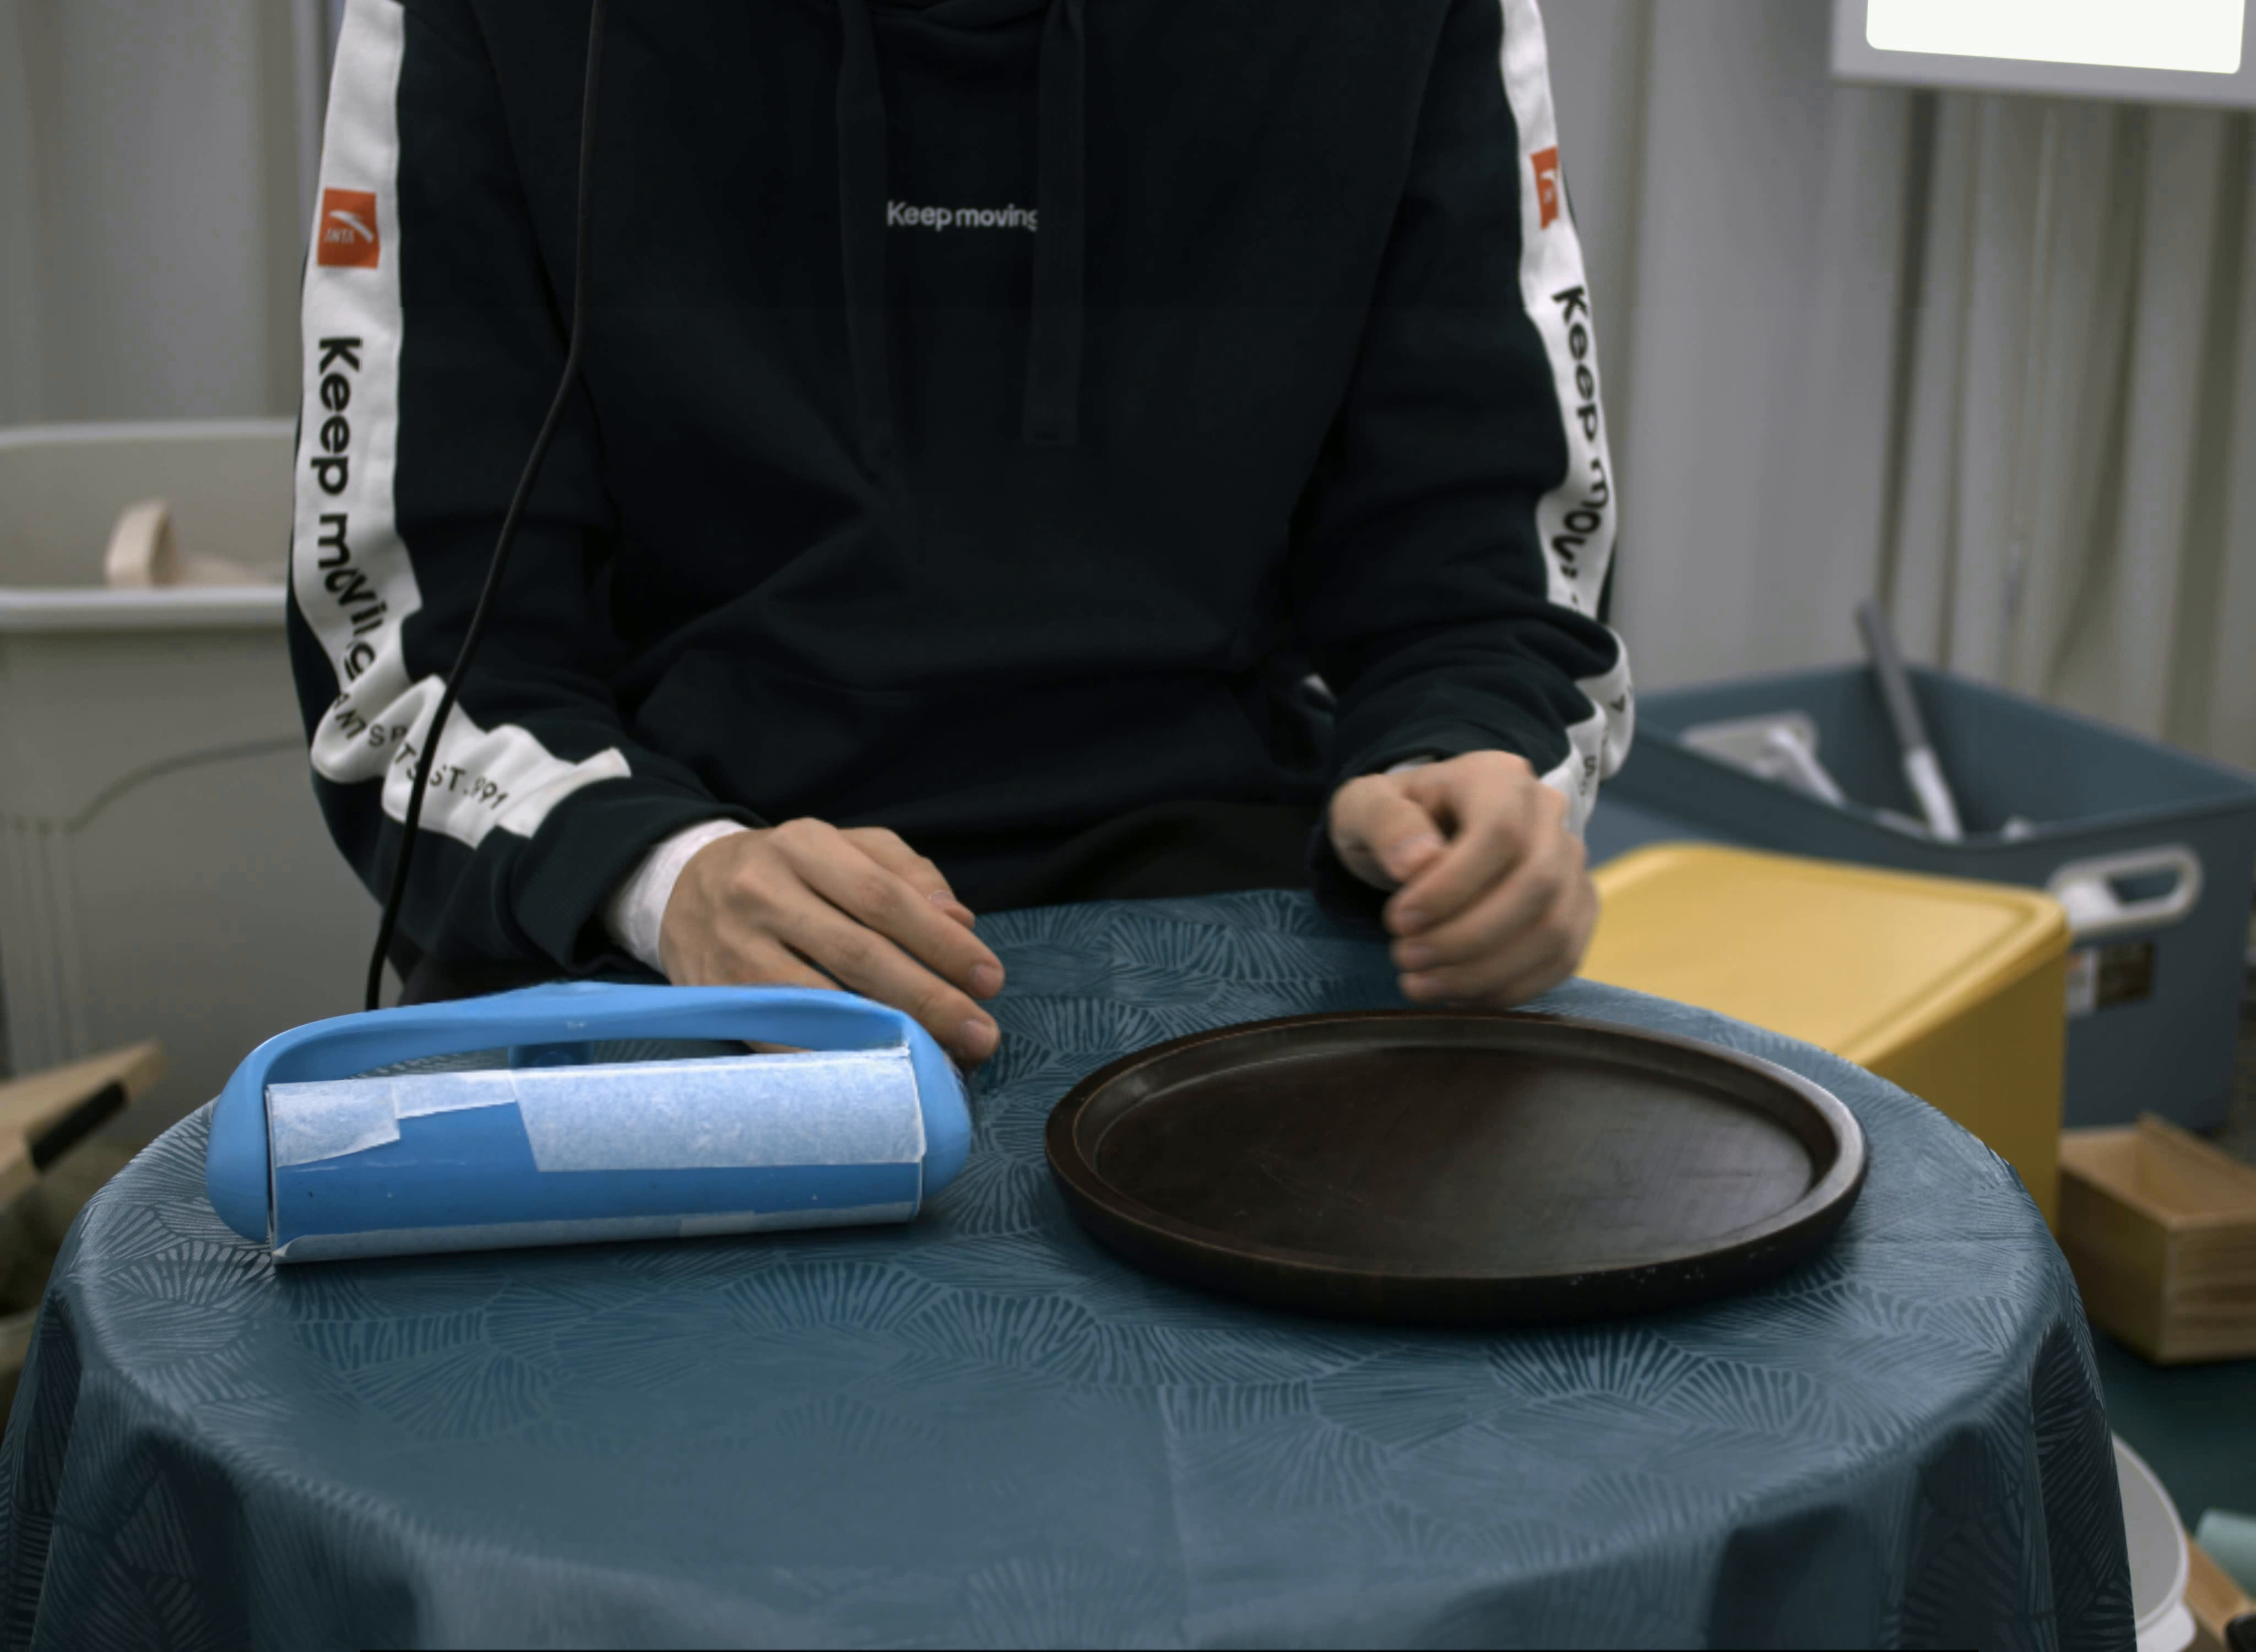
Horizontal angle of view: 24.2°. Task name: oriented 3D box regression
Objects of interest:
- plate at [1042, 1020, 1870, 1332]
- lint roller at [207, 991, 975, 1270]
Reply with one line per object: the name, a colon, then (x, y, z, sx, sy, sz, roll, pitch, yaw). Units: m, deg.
plate: (0.100, 0.104, 1.611, 0.254, 0.029, 0.253, 1, 16, 0)
lint roller: (-0.173, 0.081, 1.620, 0.229, 0.068, 0.178, -5, 17, -14)
